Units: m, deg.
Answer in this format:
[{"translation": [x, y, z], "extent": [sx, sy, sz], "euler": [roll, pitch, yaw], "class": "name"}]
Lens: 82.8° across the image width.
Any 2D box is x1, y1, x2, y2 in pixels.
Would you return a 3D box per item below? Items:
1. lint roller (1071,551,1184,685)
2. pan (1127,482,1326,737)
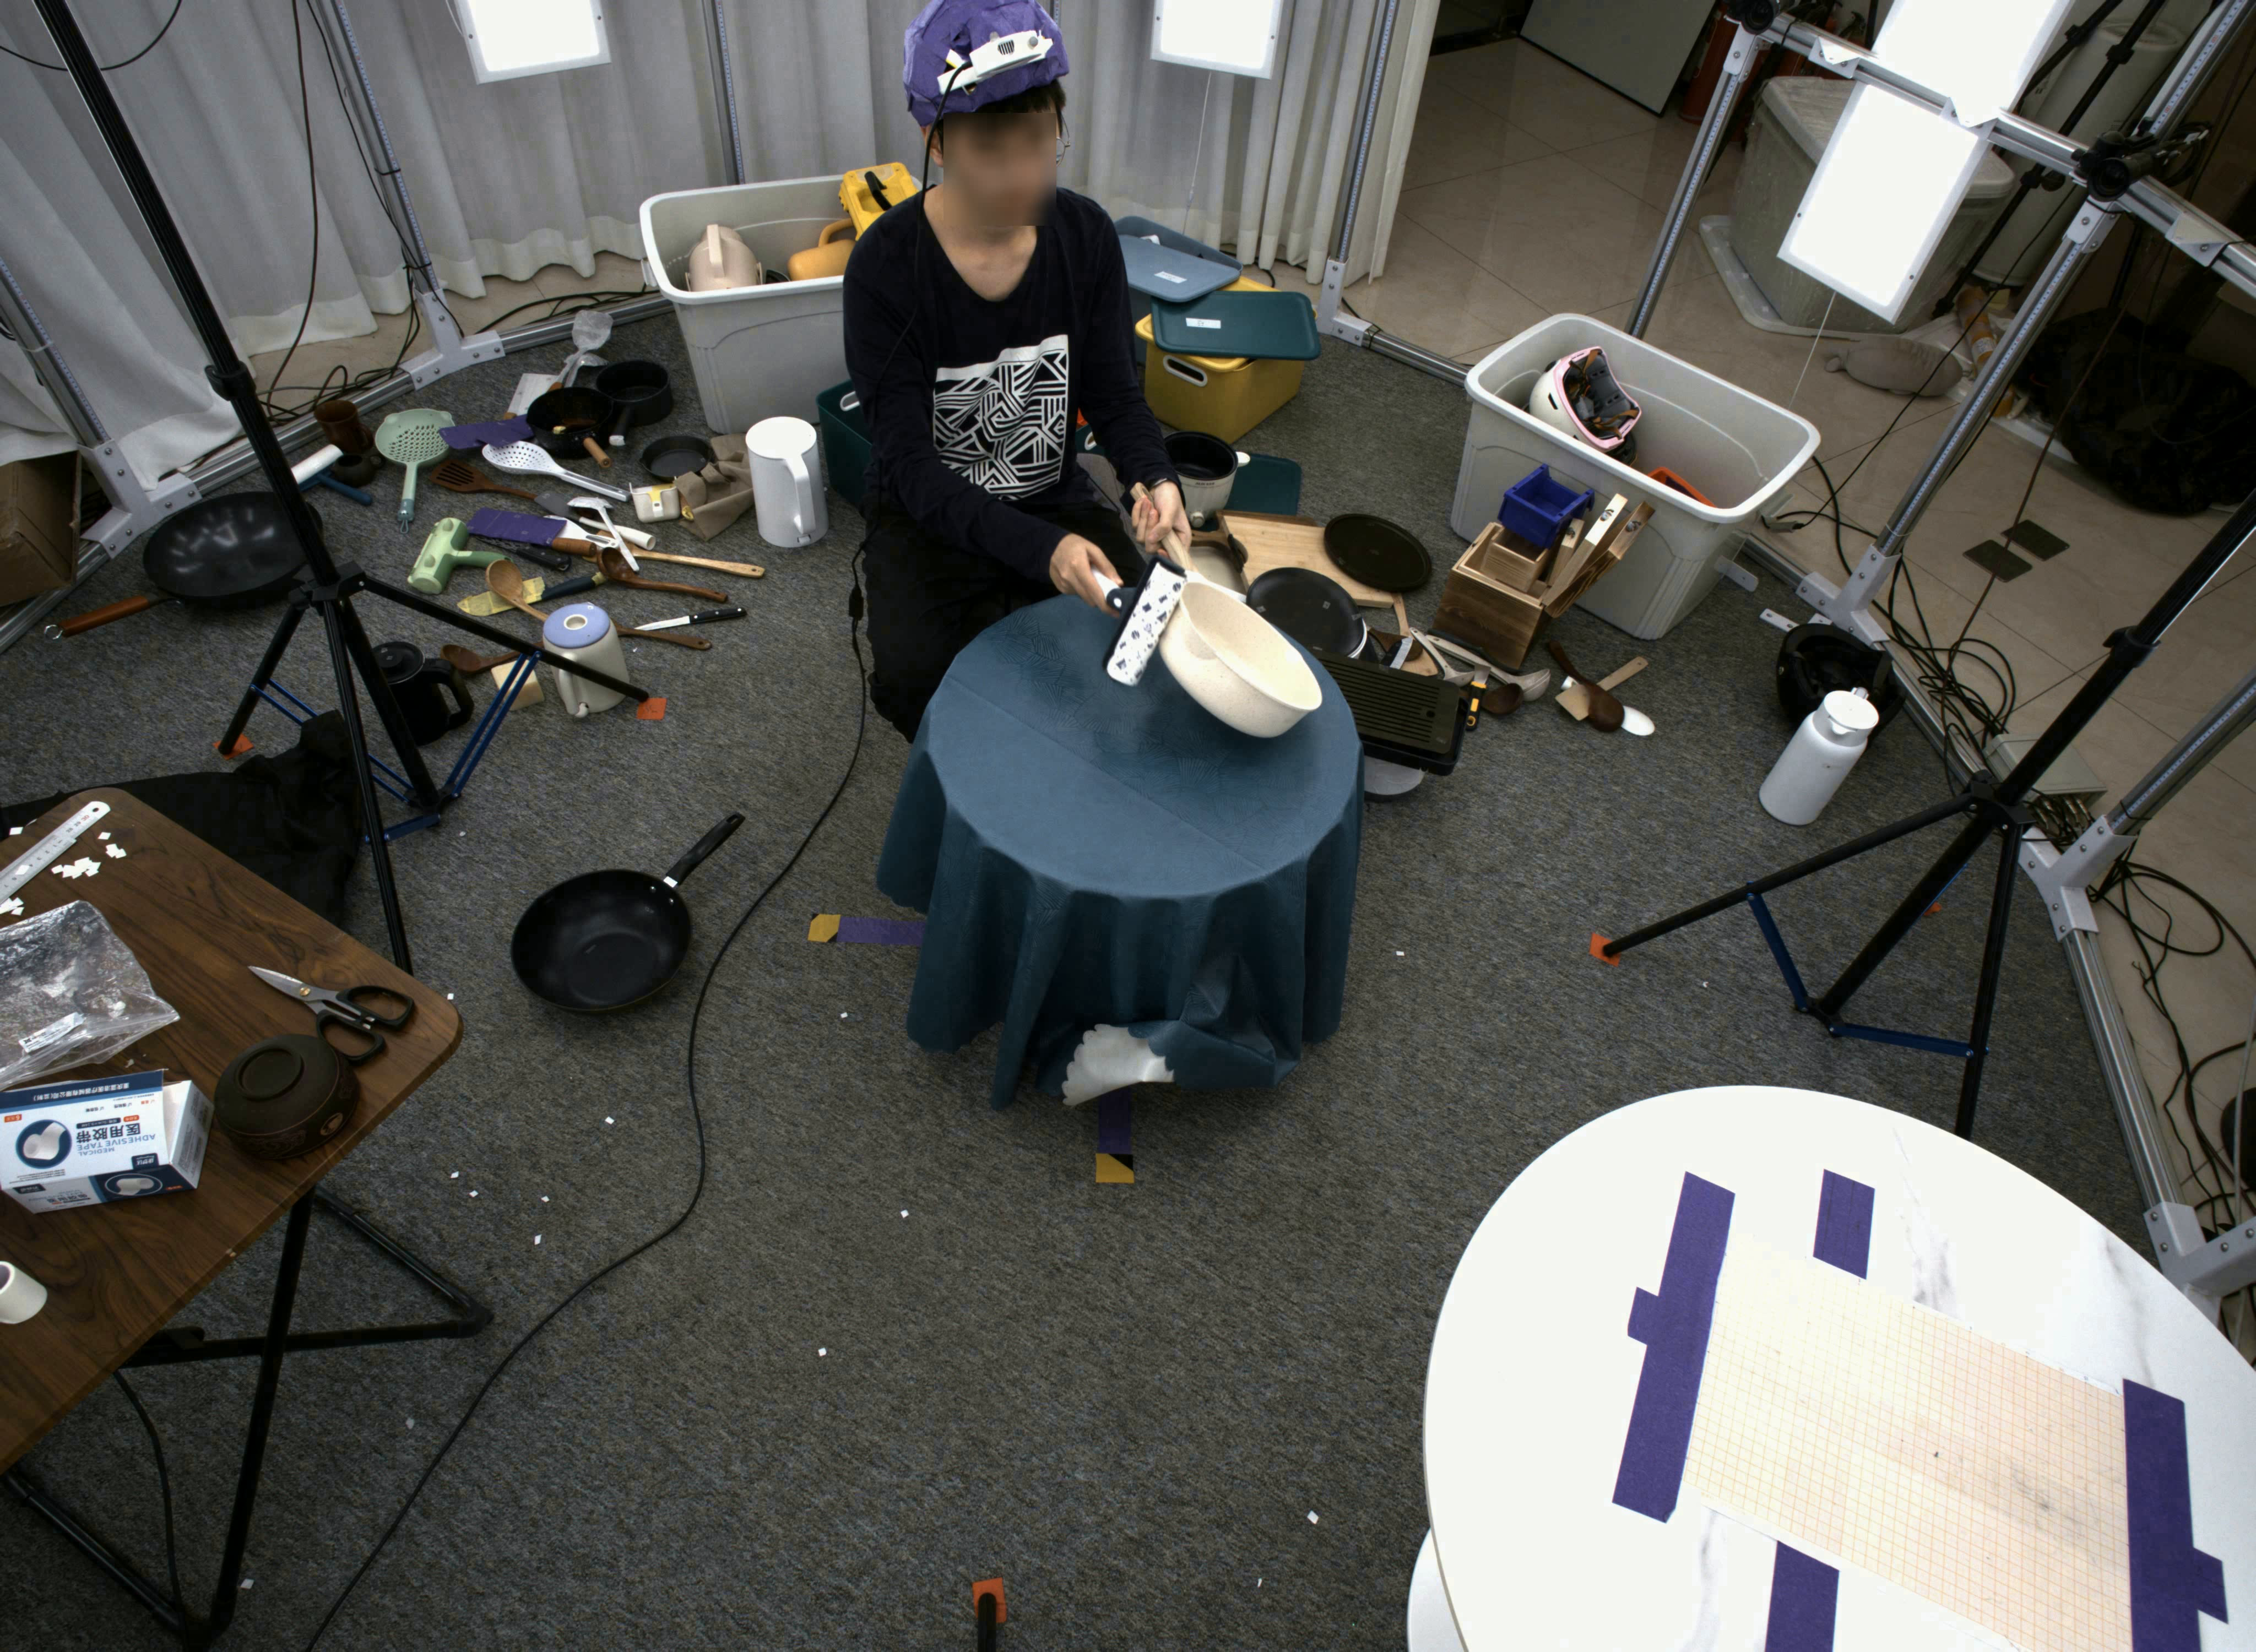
[{"translation": [-0.026, -0.323, 1.775], "extent": [0.050, 0.174, 0.252], "euler": [11, 24, -37], "class": "lint roller"}, {"translation": [0.102, -0.297, 1.791], "extent": [0.262, 0.100, 0.442], "euler": [-2, 50, -51], "class": "pan"}]
